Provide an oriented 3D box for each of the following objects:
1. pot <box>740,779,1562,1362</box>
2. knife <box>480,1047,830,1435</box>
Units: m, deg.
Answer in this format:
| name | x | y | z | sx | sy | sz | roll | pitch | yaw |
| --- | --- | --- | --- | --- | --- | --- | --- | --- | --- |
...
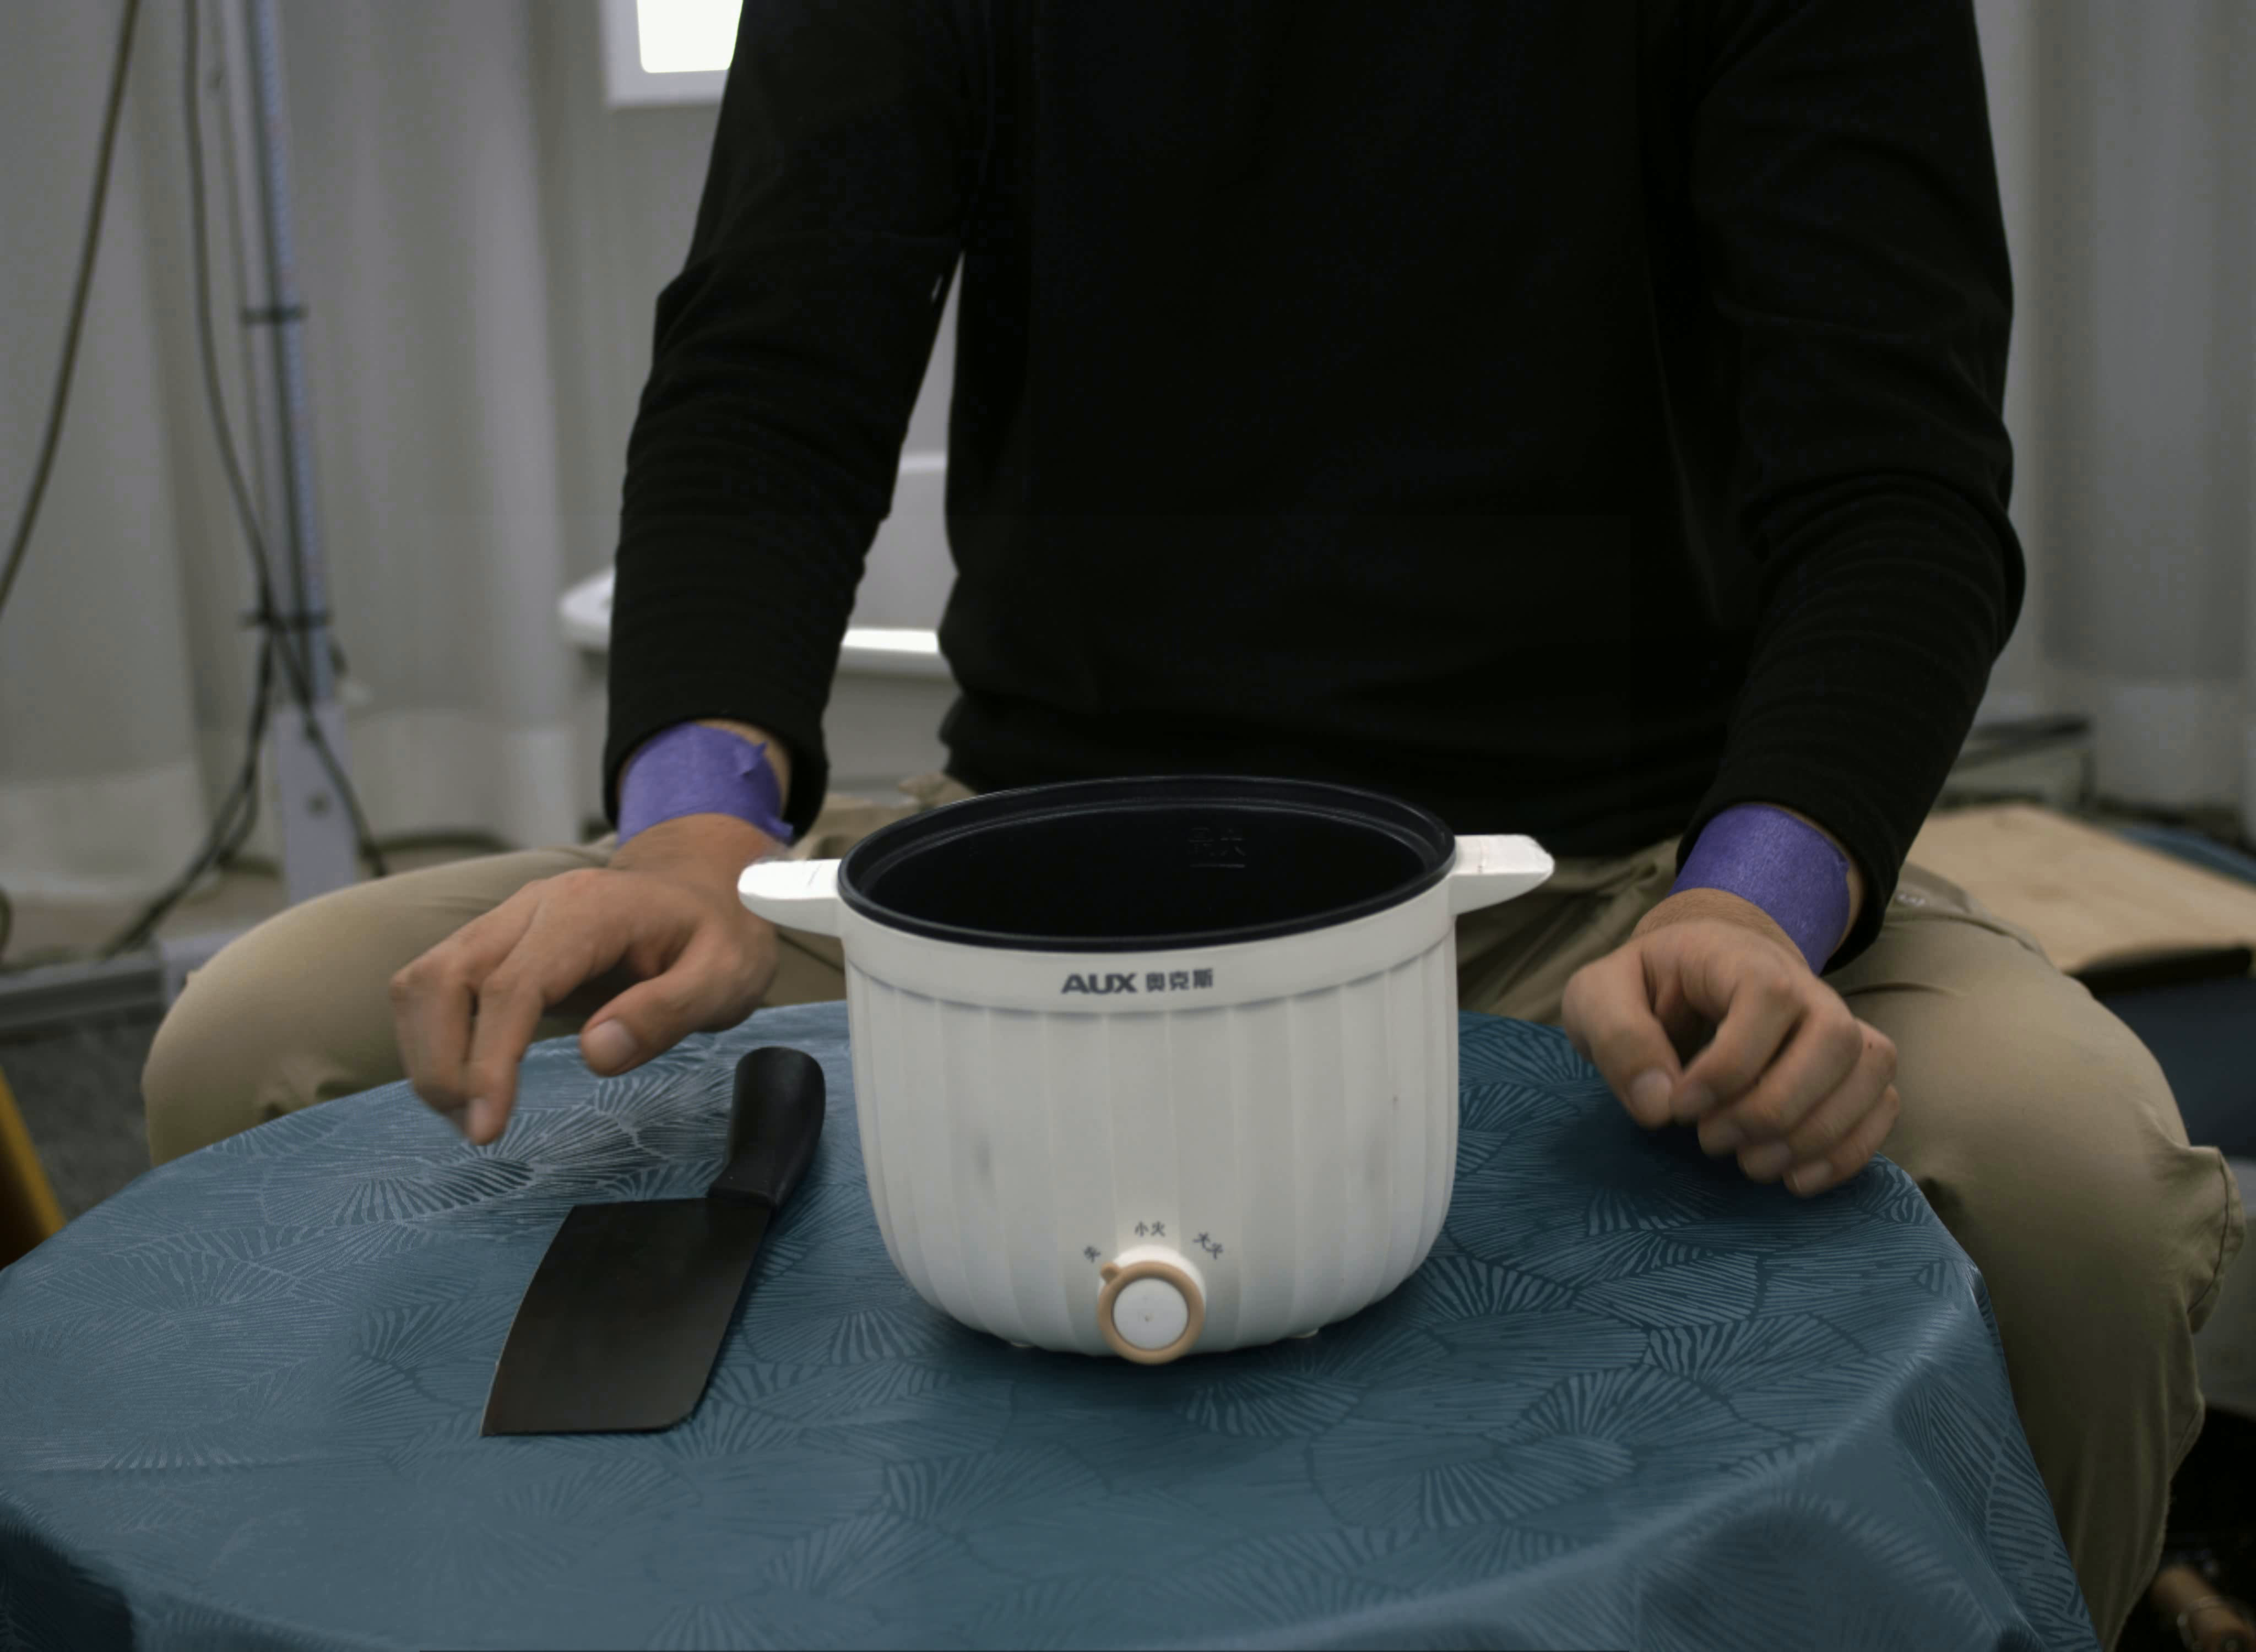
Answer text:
| name | x | y | z | sx | sy | sz | roll | pitch | yaw |
| --- | --- | --- | --- | --- | --- | --- | --- | --- | --- |
| pot | 0.010 | 0.074 | 1.601 | 0.239 | 0.142 | 0.191 | -3 | 11 | 3 |
| knife | -0.138 | 0.126 | 1.673 | 0.081 | 0.021 | 0.304 | -1 | 17 | 10 |
